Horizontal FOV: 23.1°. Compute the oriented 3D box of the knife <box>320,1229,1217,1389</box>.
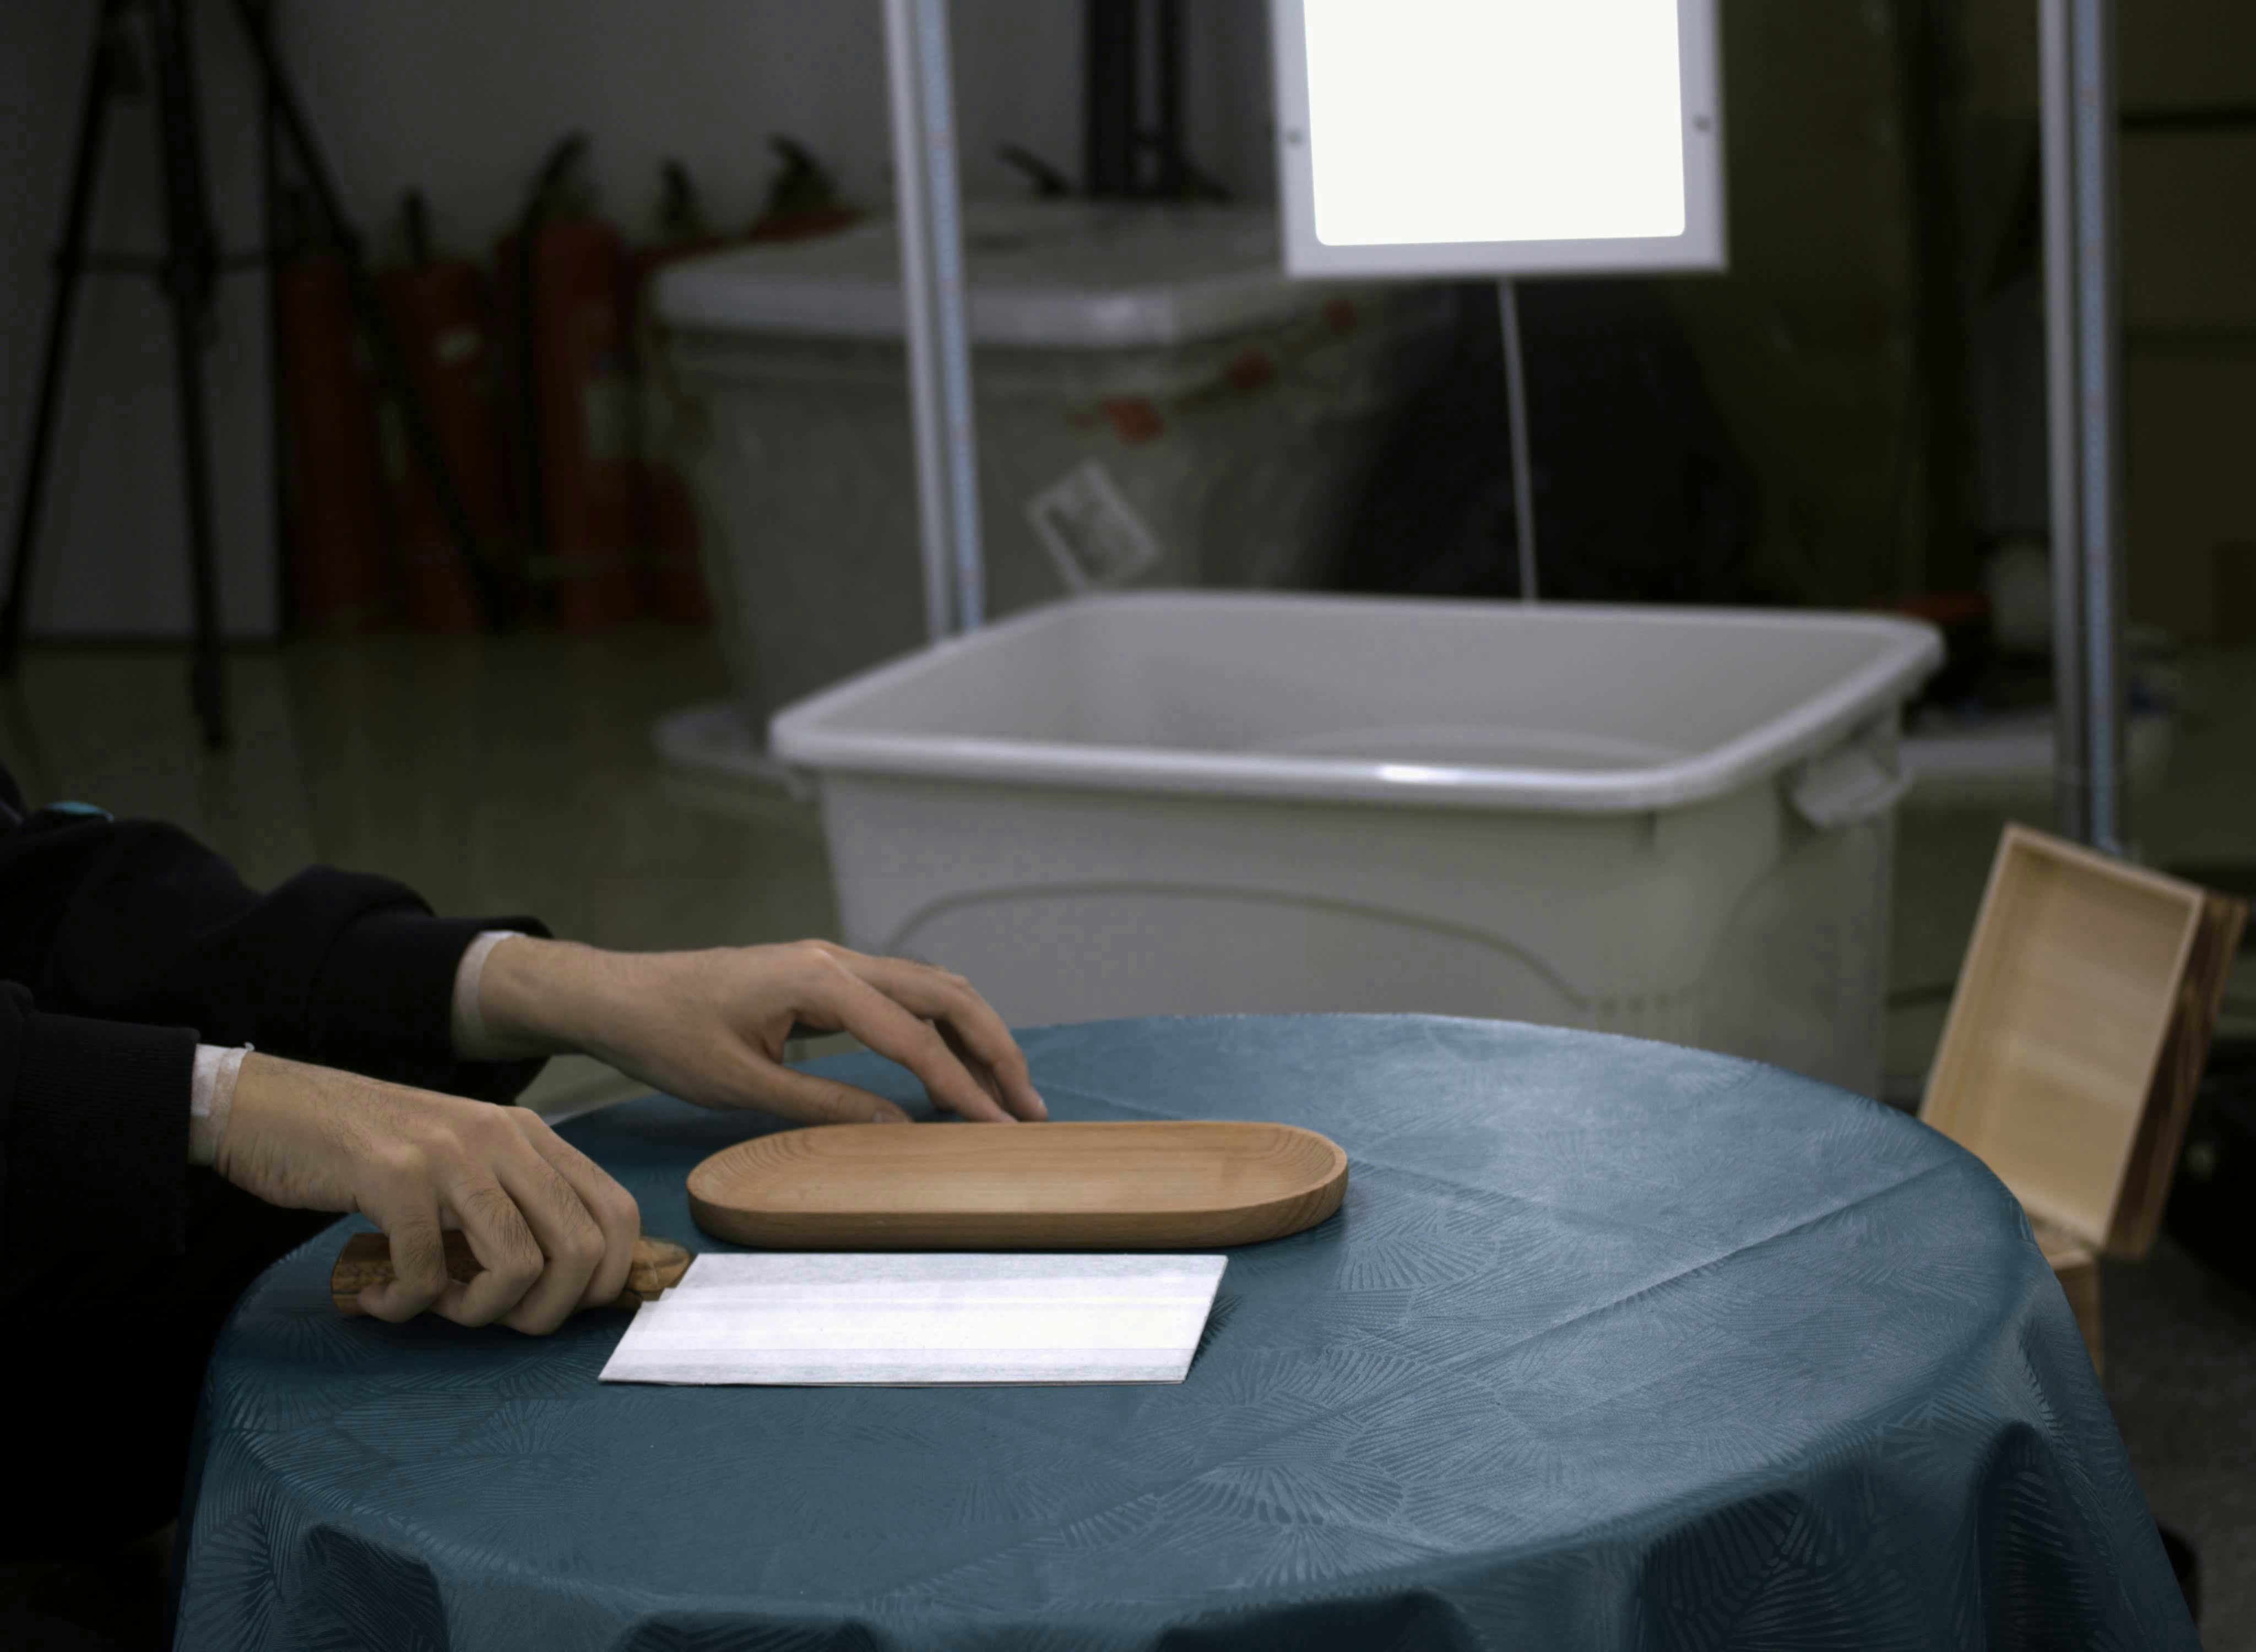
[{"bbox_3d":[-0.123,0.157,1.782,0.308,0.021,0.092,-1,23,14],"label":"knife"}]

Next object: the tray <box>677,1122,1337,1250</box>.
[{"bbox_3d":[-0.042,0.124,1.888,0.233,0.020,0.100,-2,13,15],"label":"tray"}]
